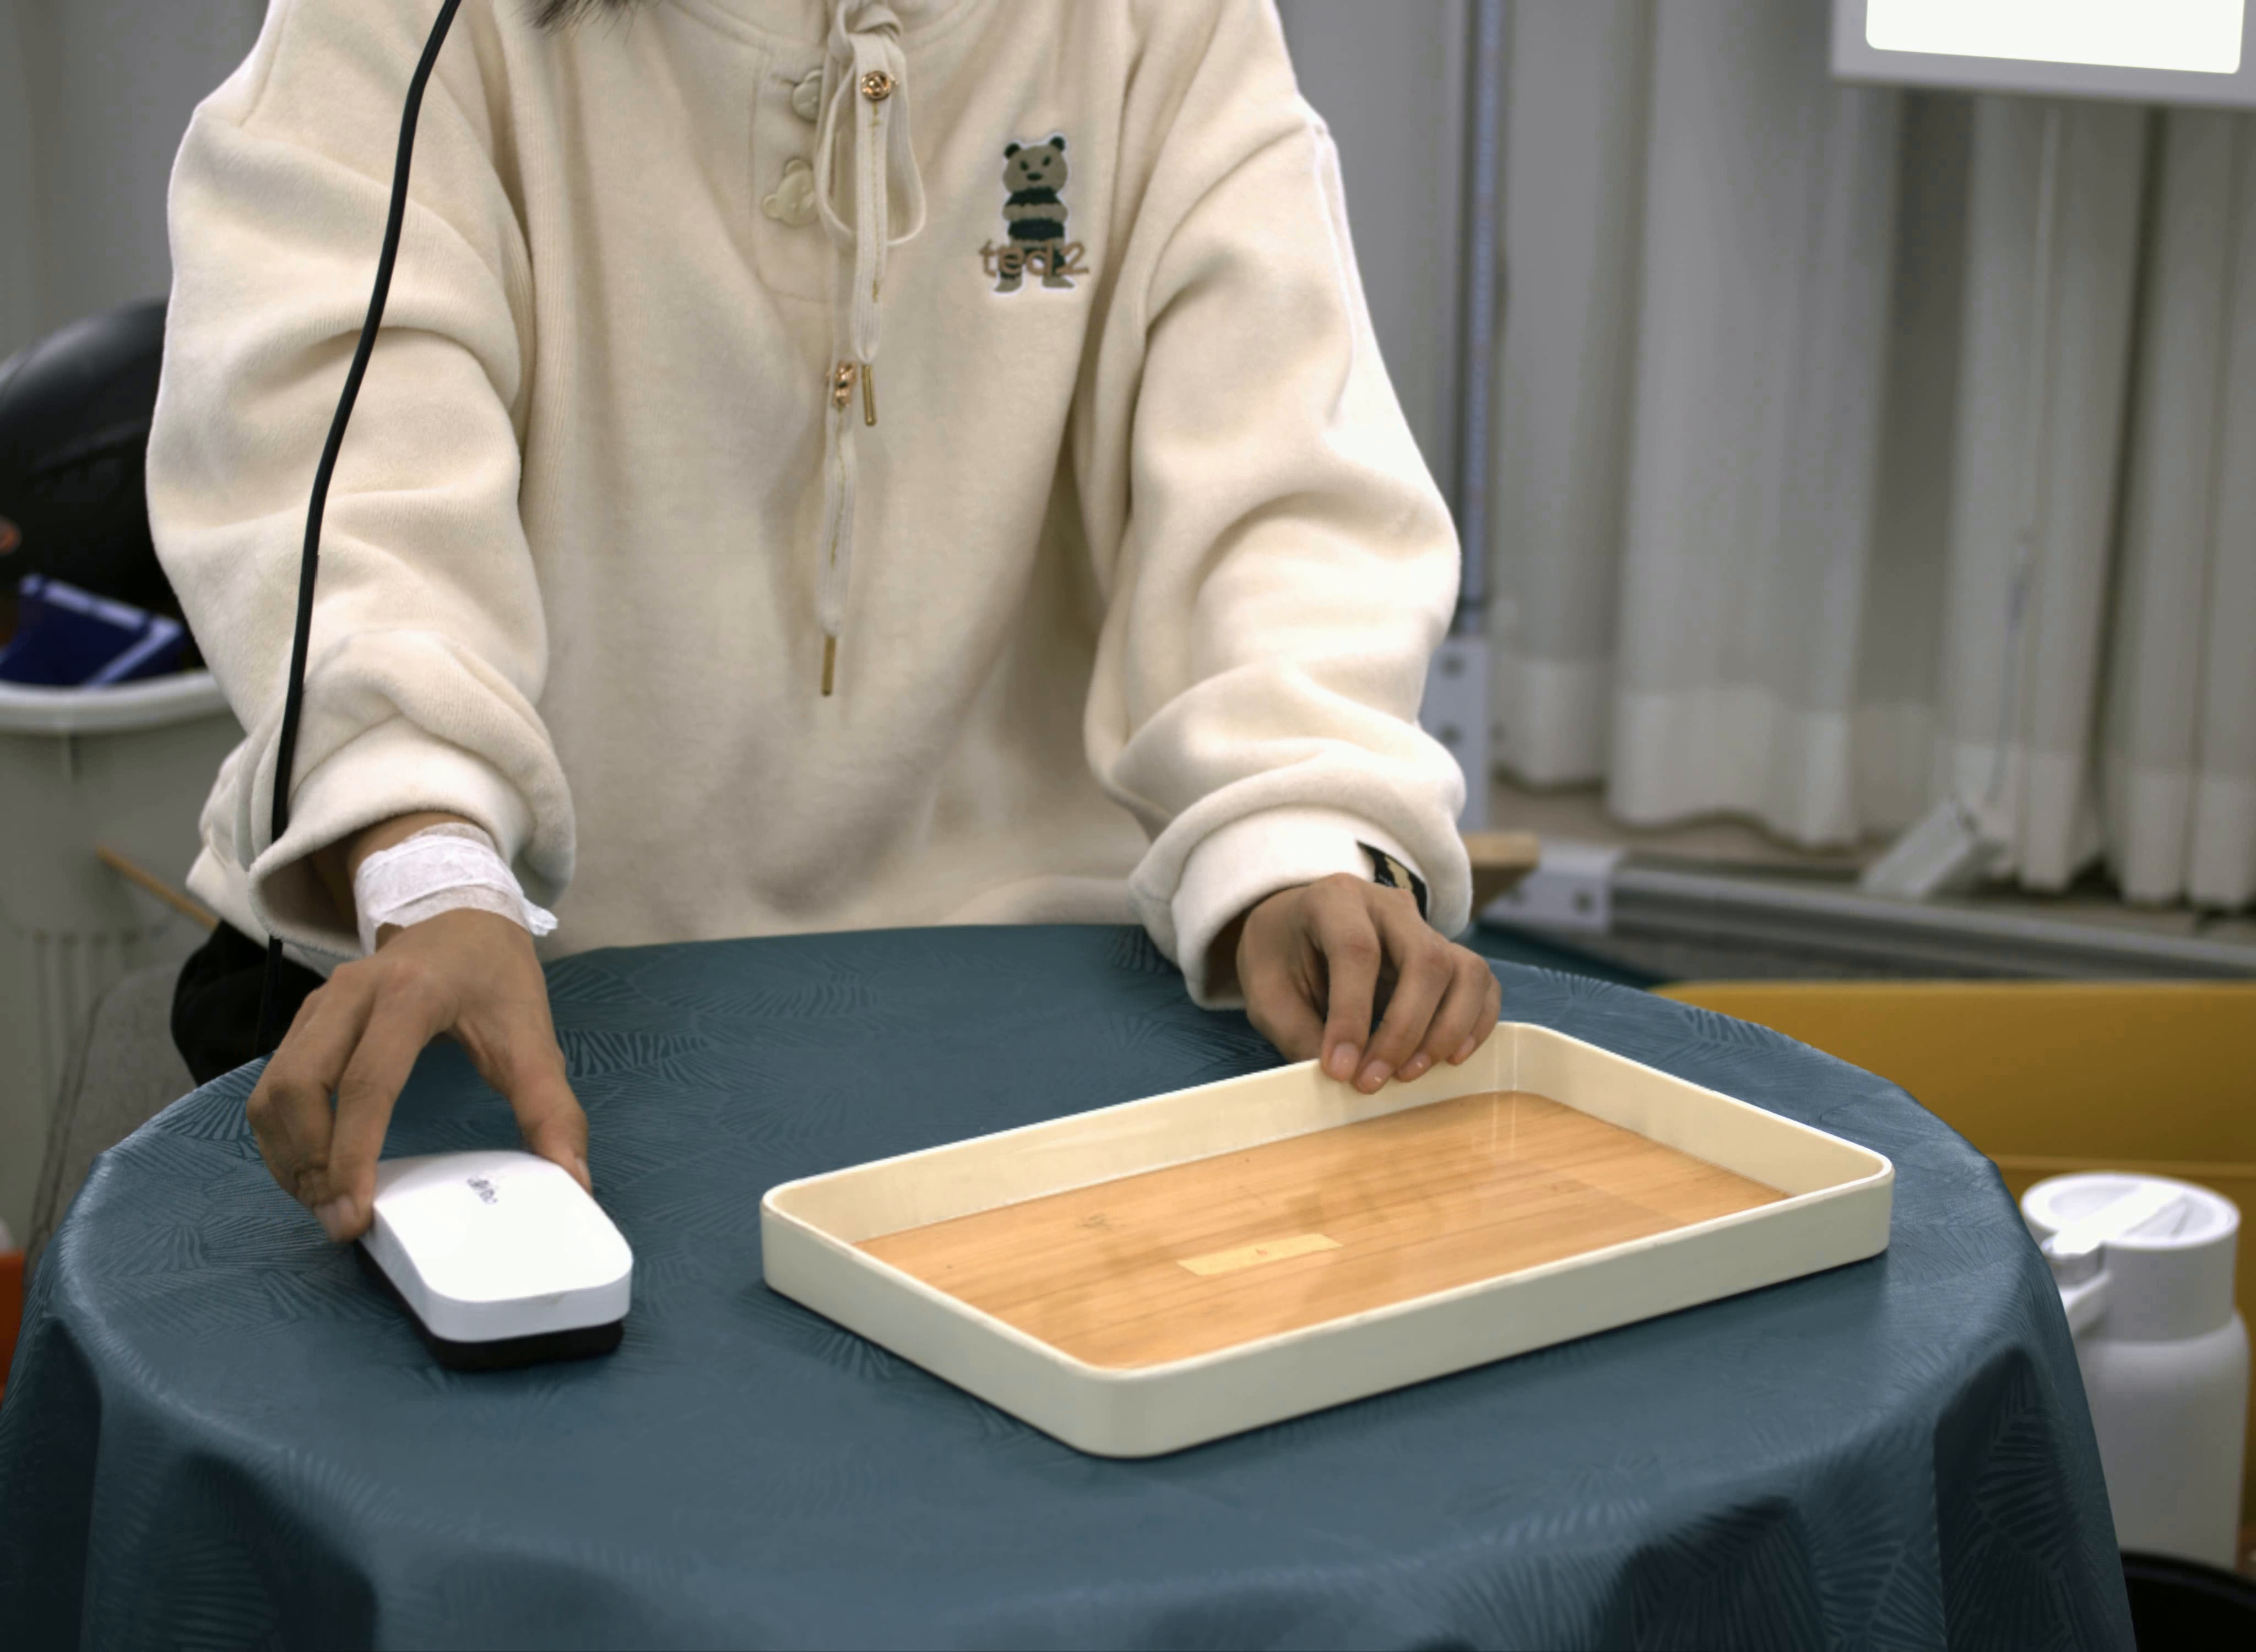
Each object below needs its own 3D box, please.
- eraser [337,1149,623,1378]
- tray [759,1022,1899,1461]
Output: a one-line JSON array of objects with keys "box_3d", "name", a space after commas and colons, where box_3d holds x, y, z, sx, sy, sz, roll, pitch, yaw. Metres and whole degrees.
[{"box_3d": [-0.187, 0.122, 1.523, 0.063, 0.035, 0.130, -6, 17, -19], "name": "eraser"}, {"box_3d": [0.061, 0.117, 1.554, 0.302, 0.027, 0.189, -11, 19, -35], "name": "tray"}]
